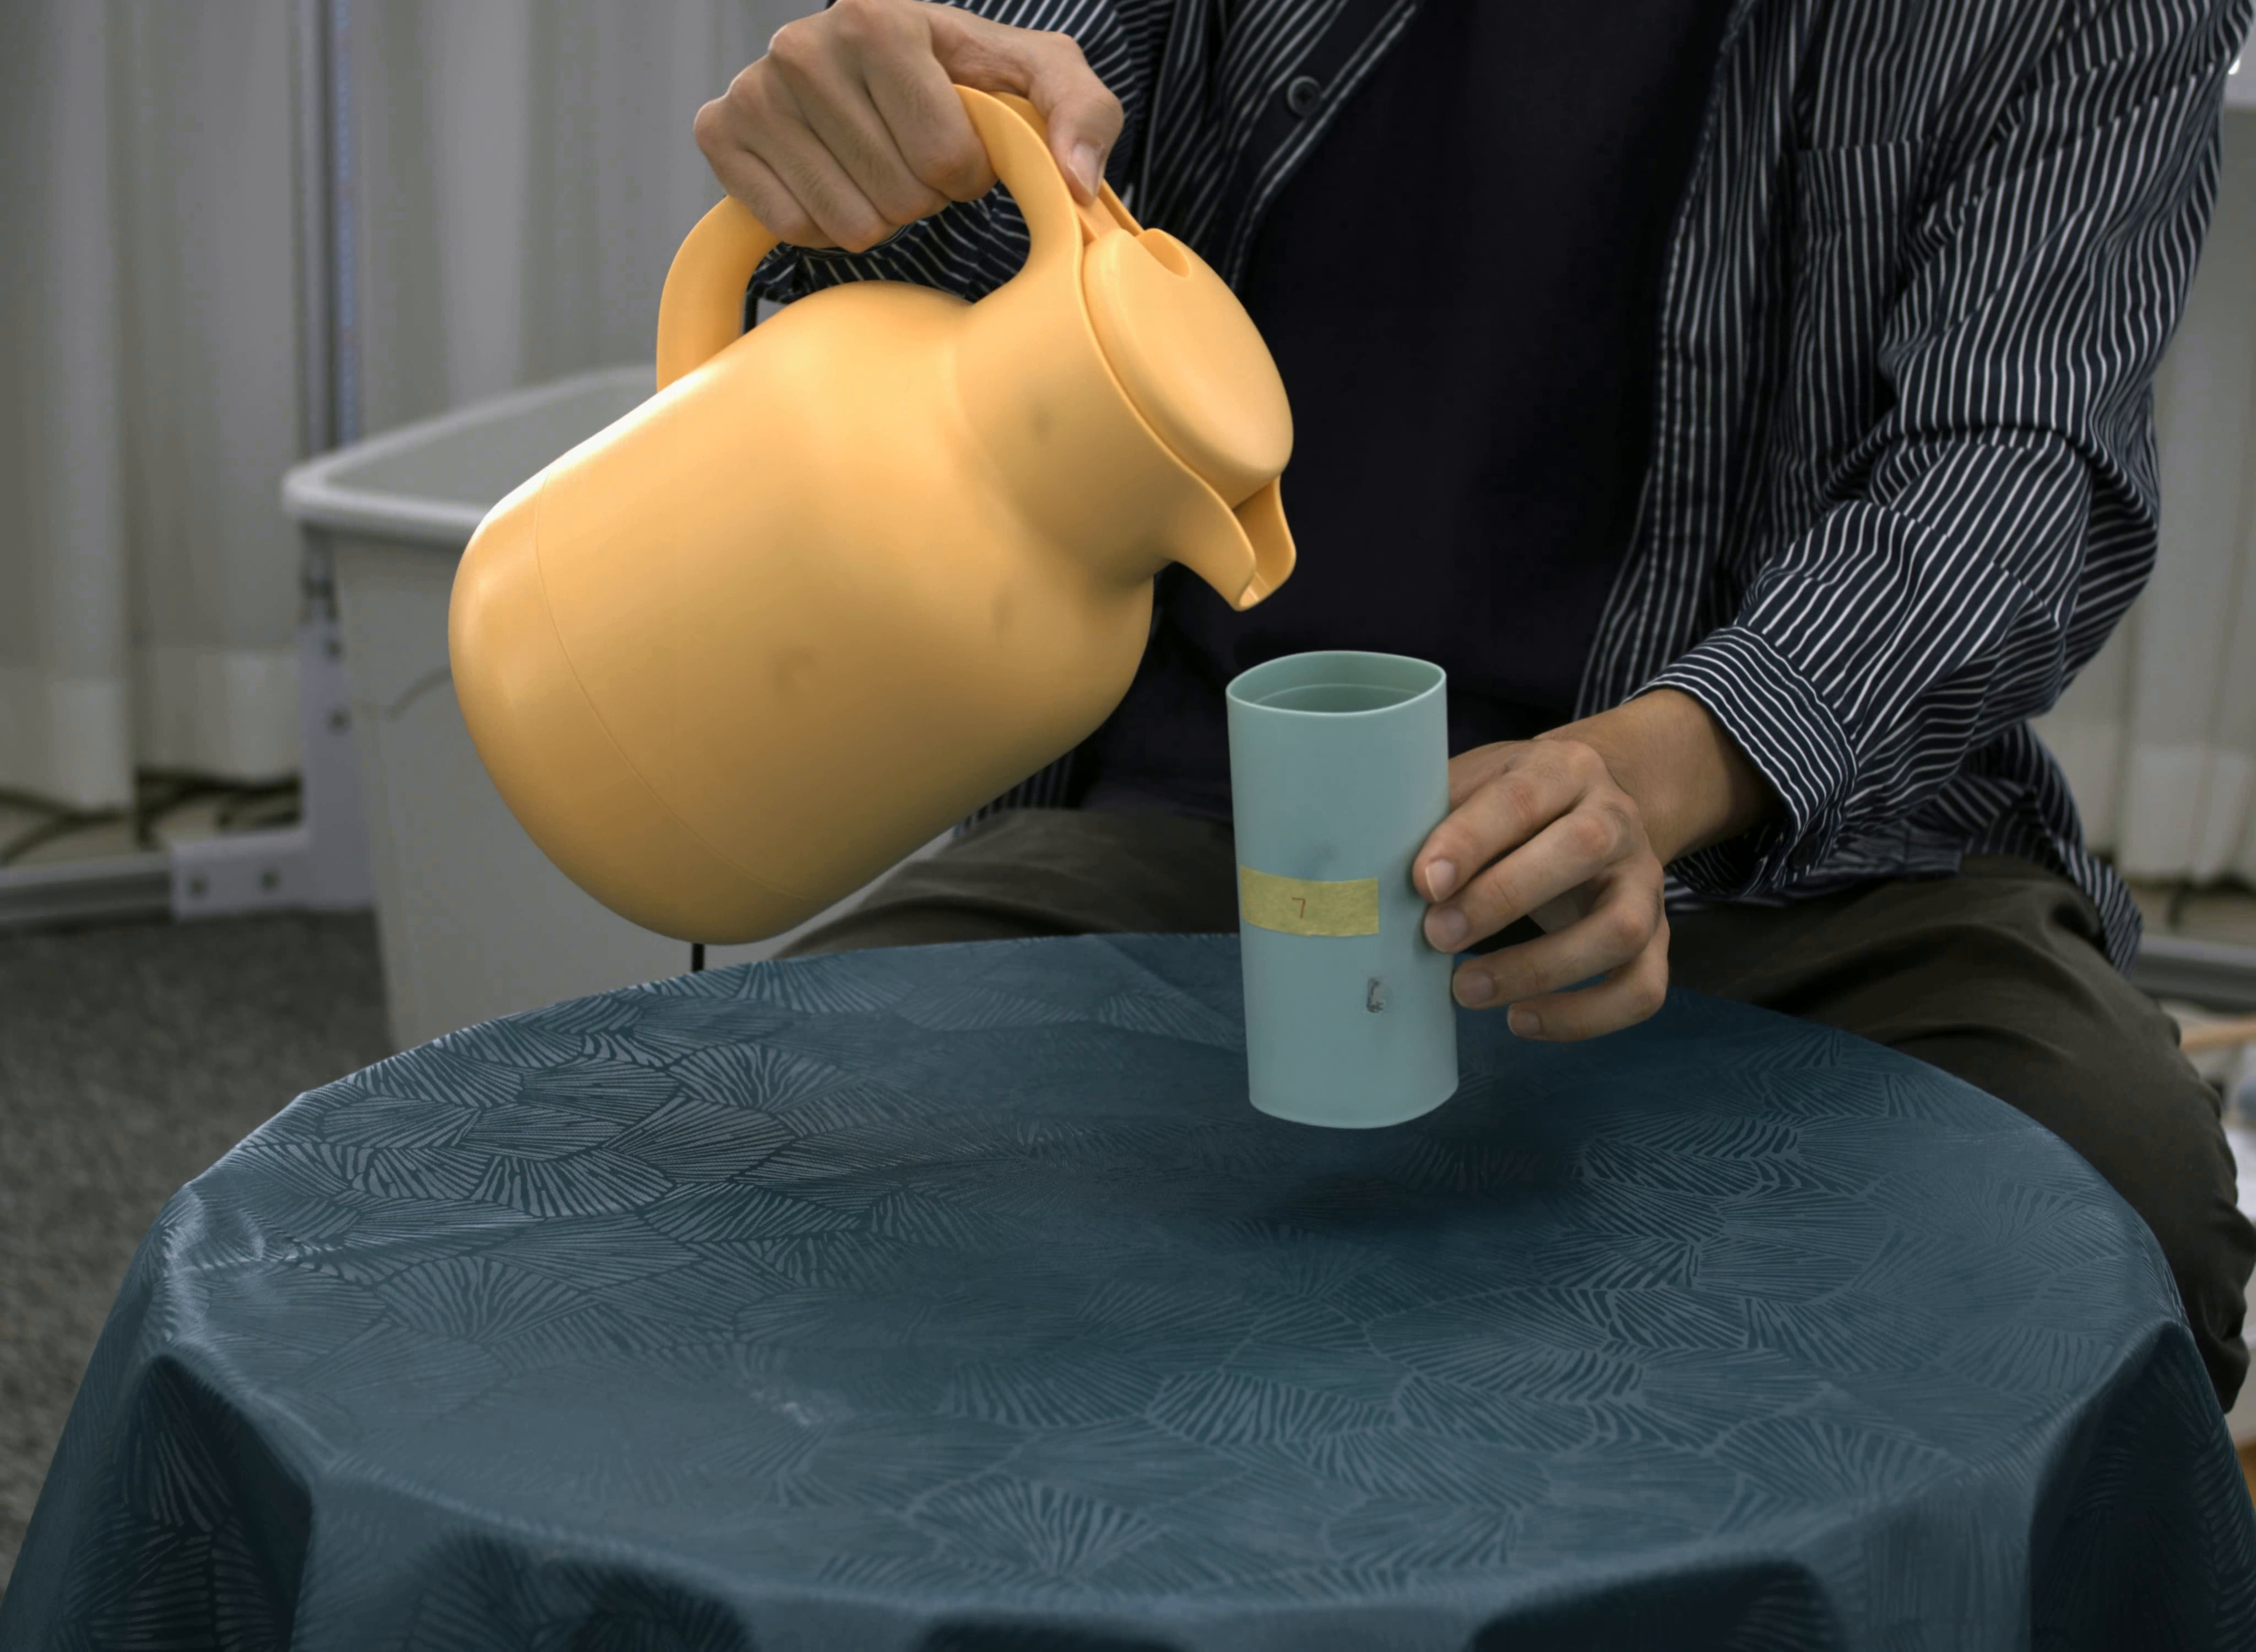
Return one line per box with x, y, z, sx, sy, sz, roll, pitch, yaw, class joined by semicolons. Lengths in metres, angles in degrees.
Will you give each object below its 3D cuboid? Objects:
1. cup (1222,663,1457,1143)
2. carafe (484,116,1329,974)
0.065;0.022;1.582;0.066;0.133;0.066;-3;19;2;cup
-0.071;-0.091;1.615;0.259;0.202;0.164;-31;-8;25;carafe
